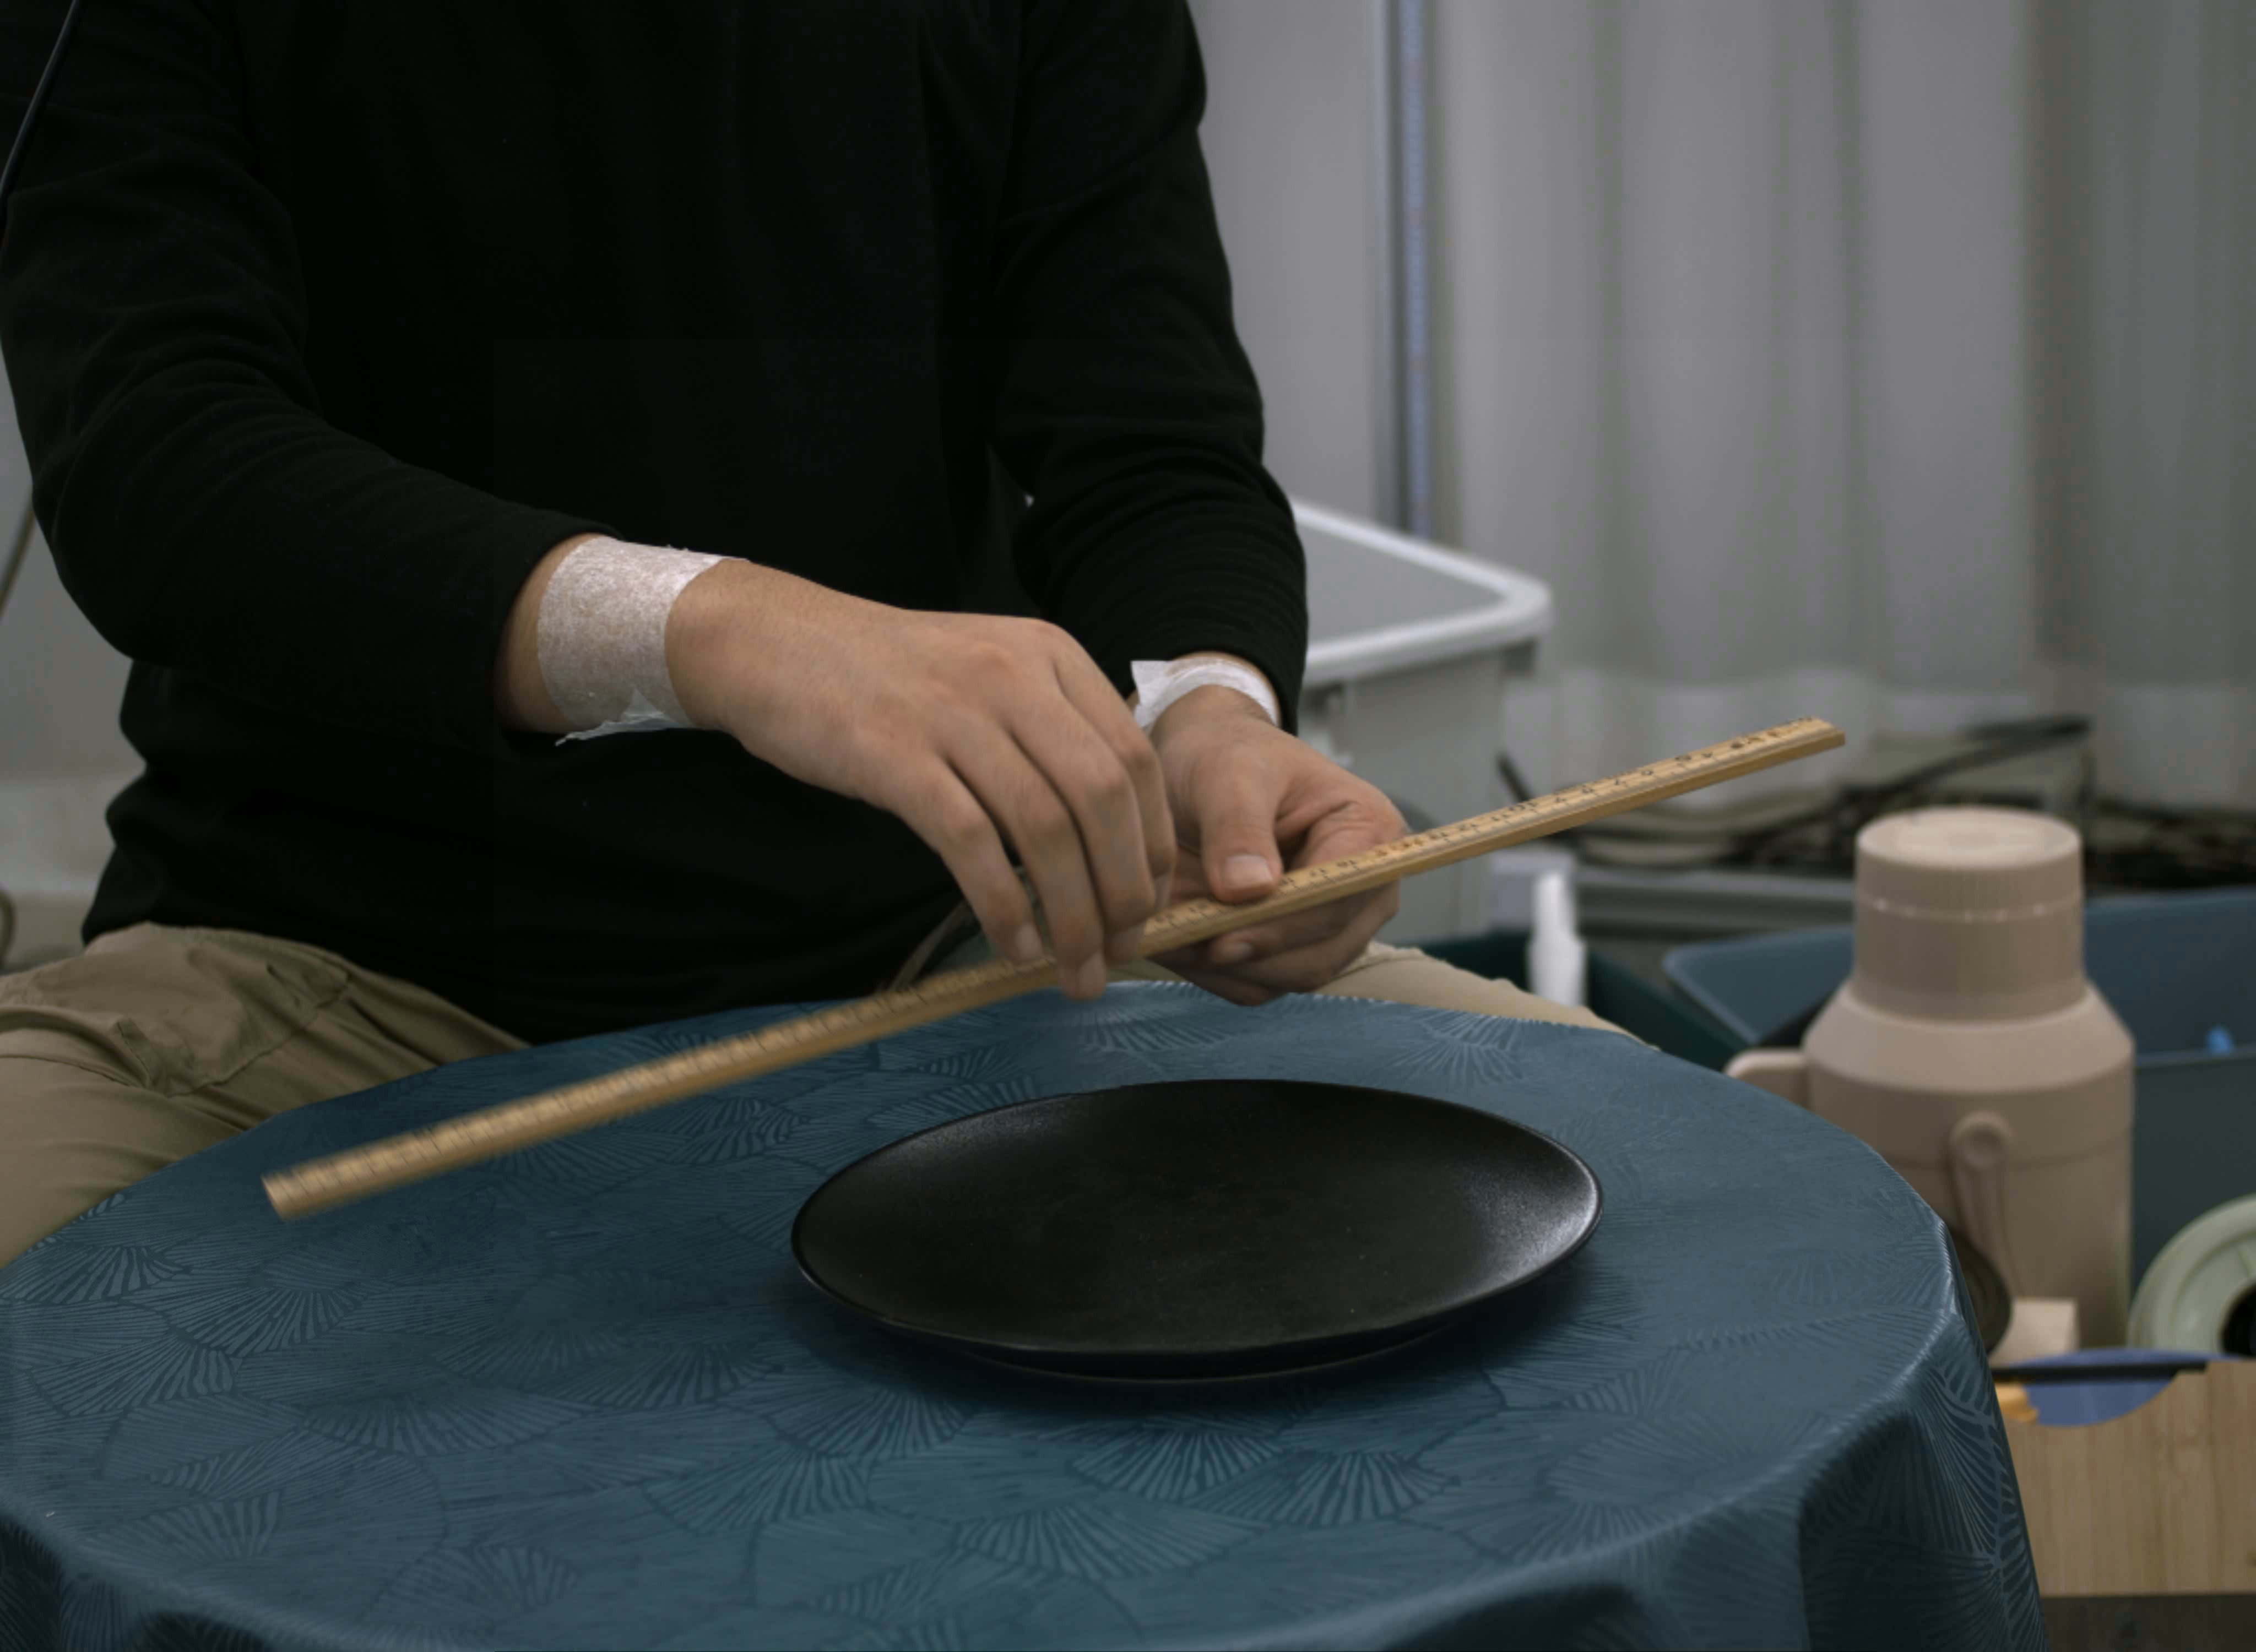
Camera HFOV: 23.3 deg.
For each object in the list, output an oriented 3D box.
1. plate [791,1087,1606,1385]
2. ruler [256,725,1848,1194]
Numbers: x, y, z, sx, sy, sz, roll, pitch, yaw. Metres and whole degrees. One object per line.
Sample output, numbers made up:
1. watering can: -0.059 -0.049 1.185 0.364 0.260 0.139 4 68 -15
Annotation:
1. plate: 0.021 0.124 1.630 0.243 0.023 0.246 -3 15 1
2. ruler: -0.017 0.037 1.636 0.499 0.006 0.027 -16 14 -12
